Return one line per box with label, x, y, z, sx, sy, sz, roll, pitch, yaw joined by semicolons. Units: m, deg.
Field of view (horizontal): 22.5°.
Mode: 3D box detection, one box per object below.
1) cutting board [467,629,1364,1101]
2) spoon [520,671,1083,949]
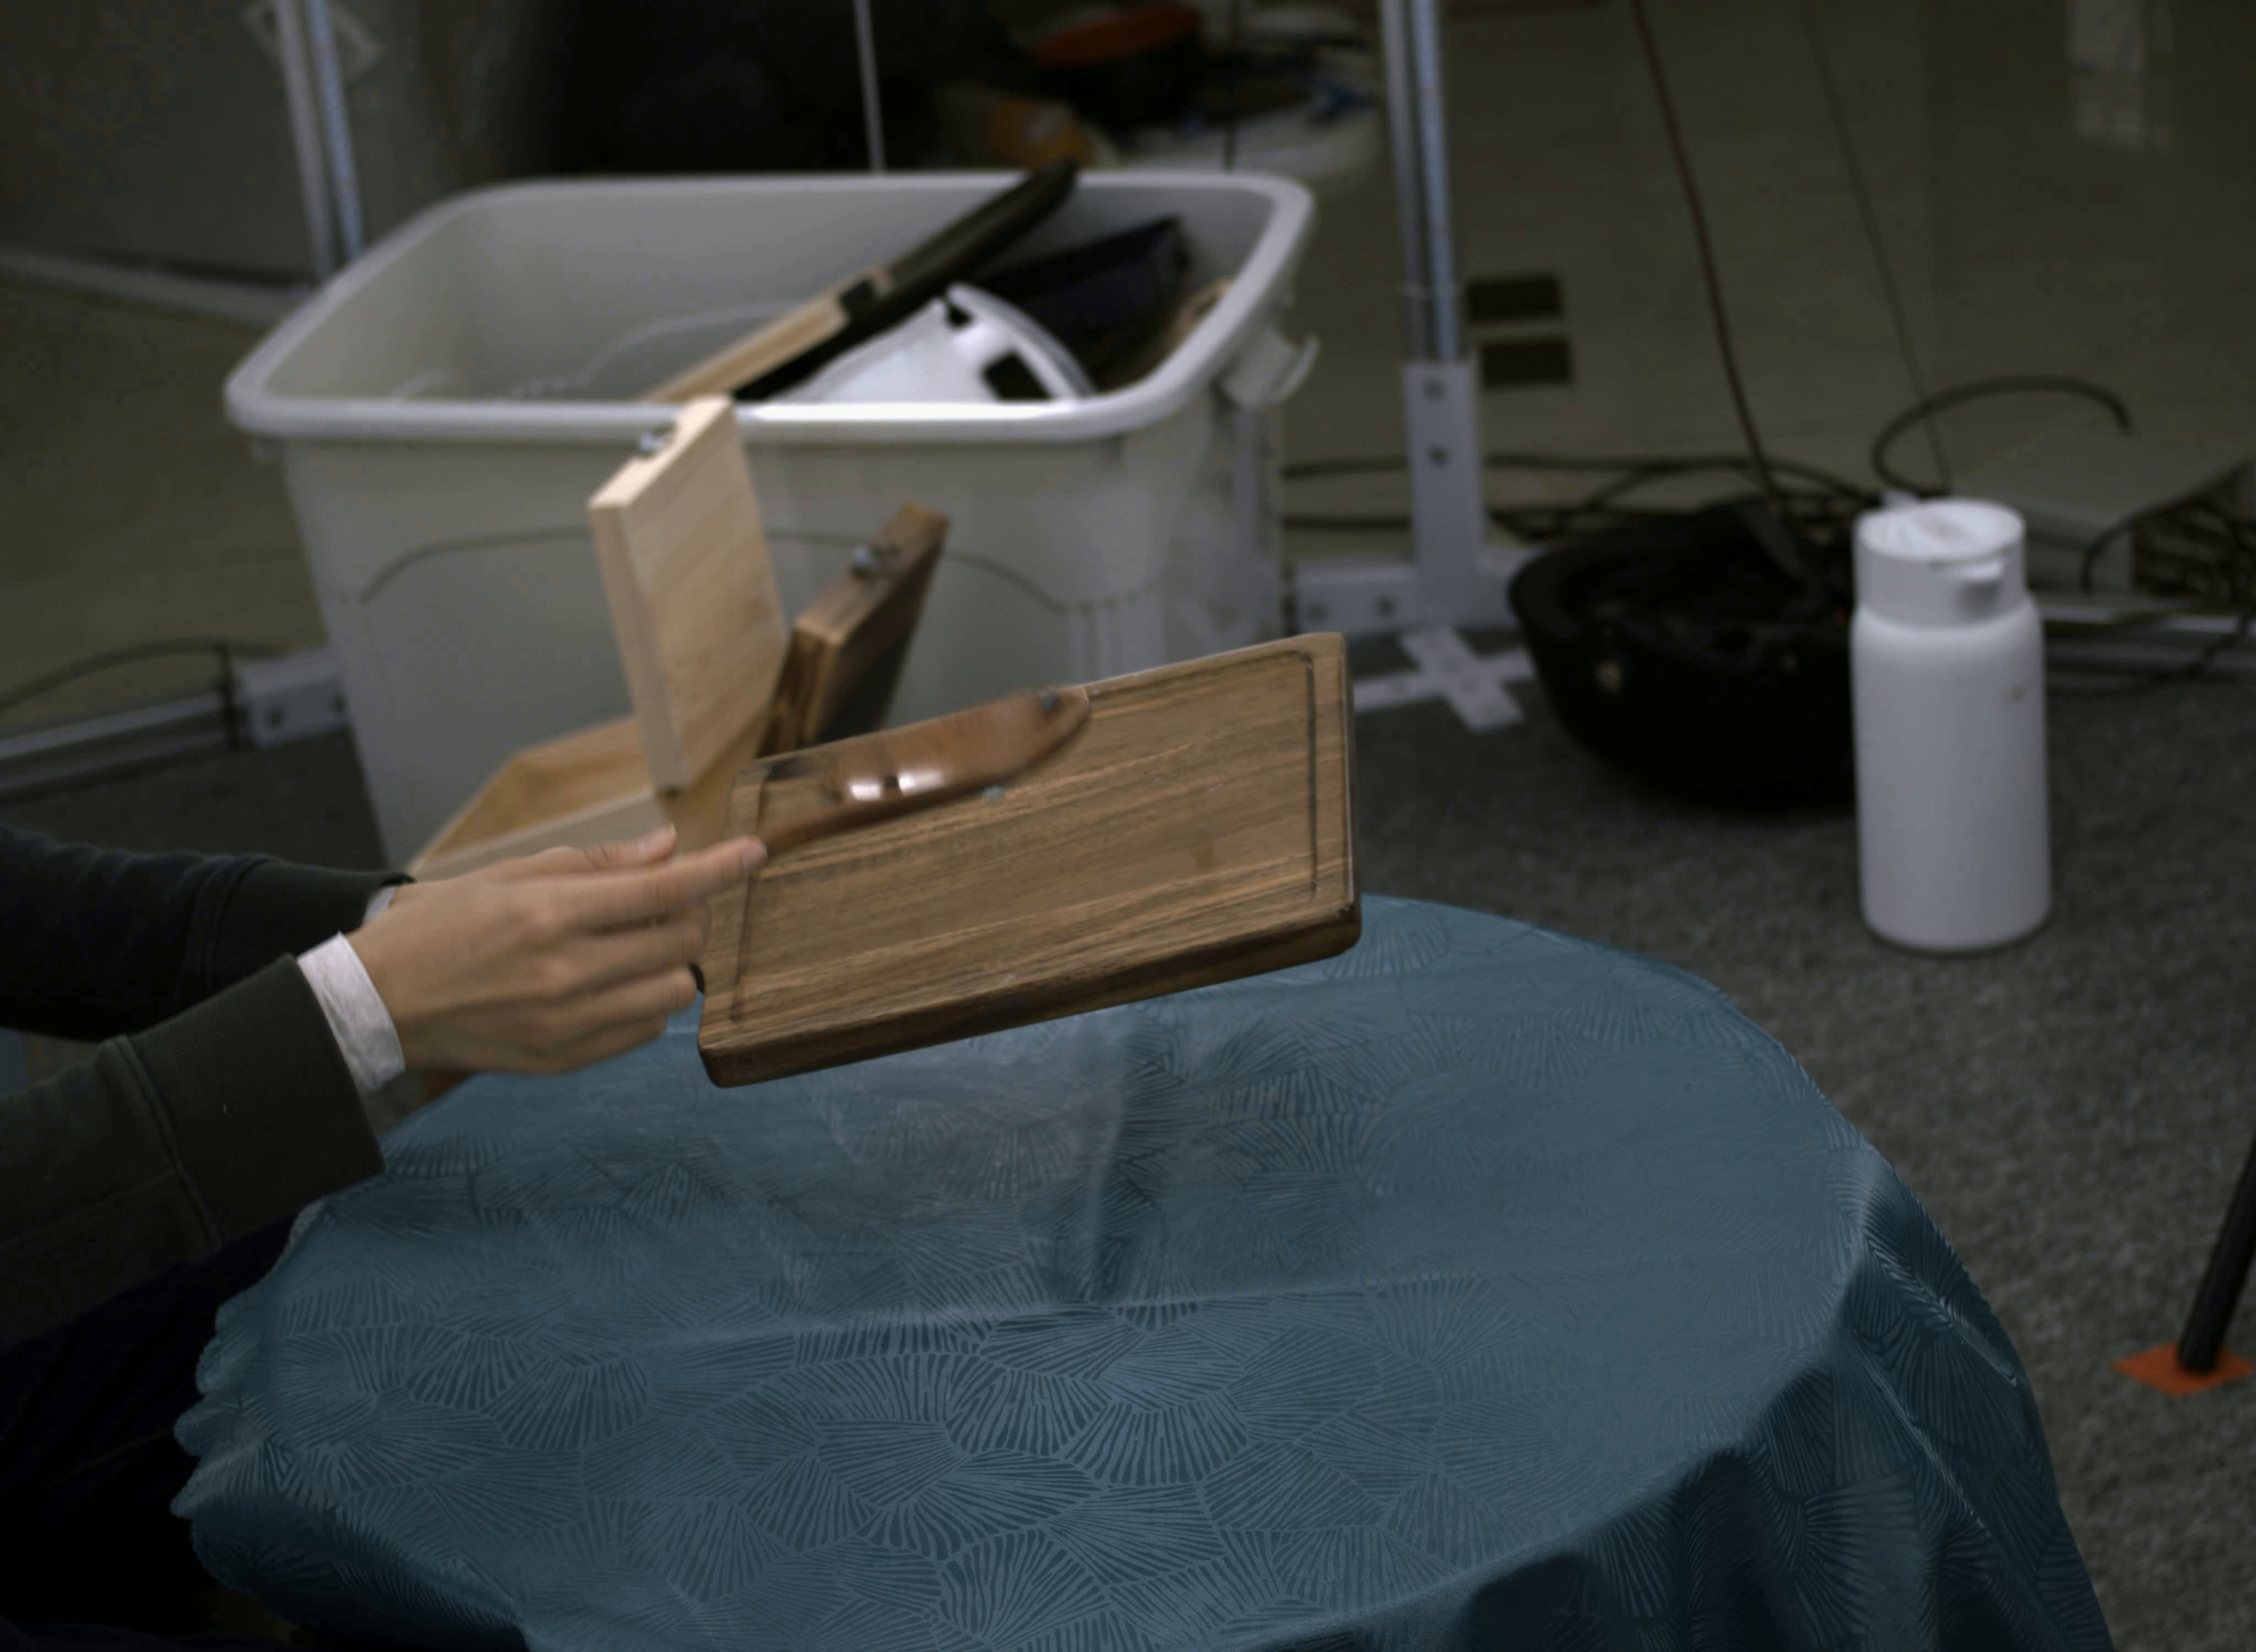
cutting board;-0.084;0.023;2.156;0.352;0.023;0.197;-13;35;10
spoon;-0.111;-0.005;1.947;0.215;0.017;0.075;-24;20;-17
